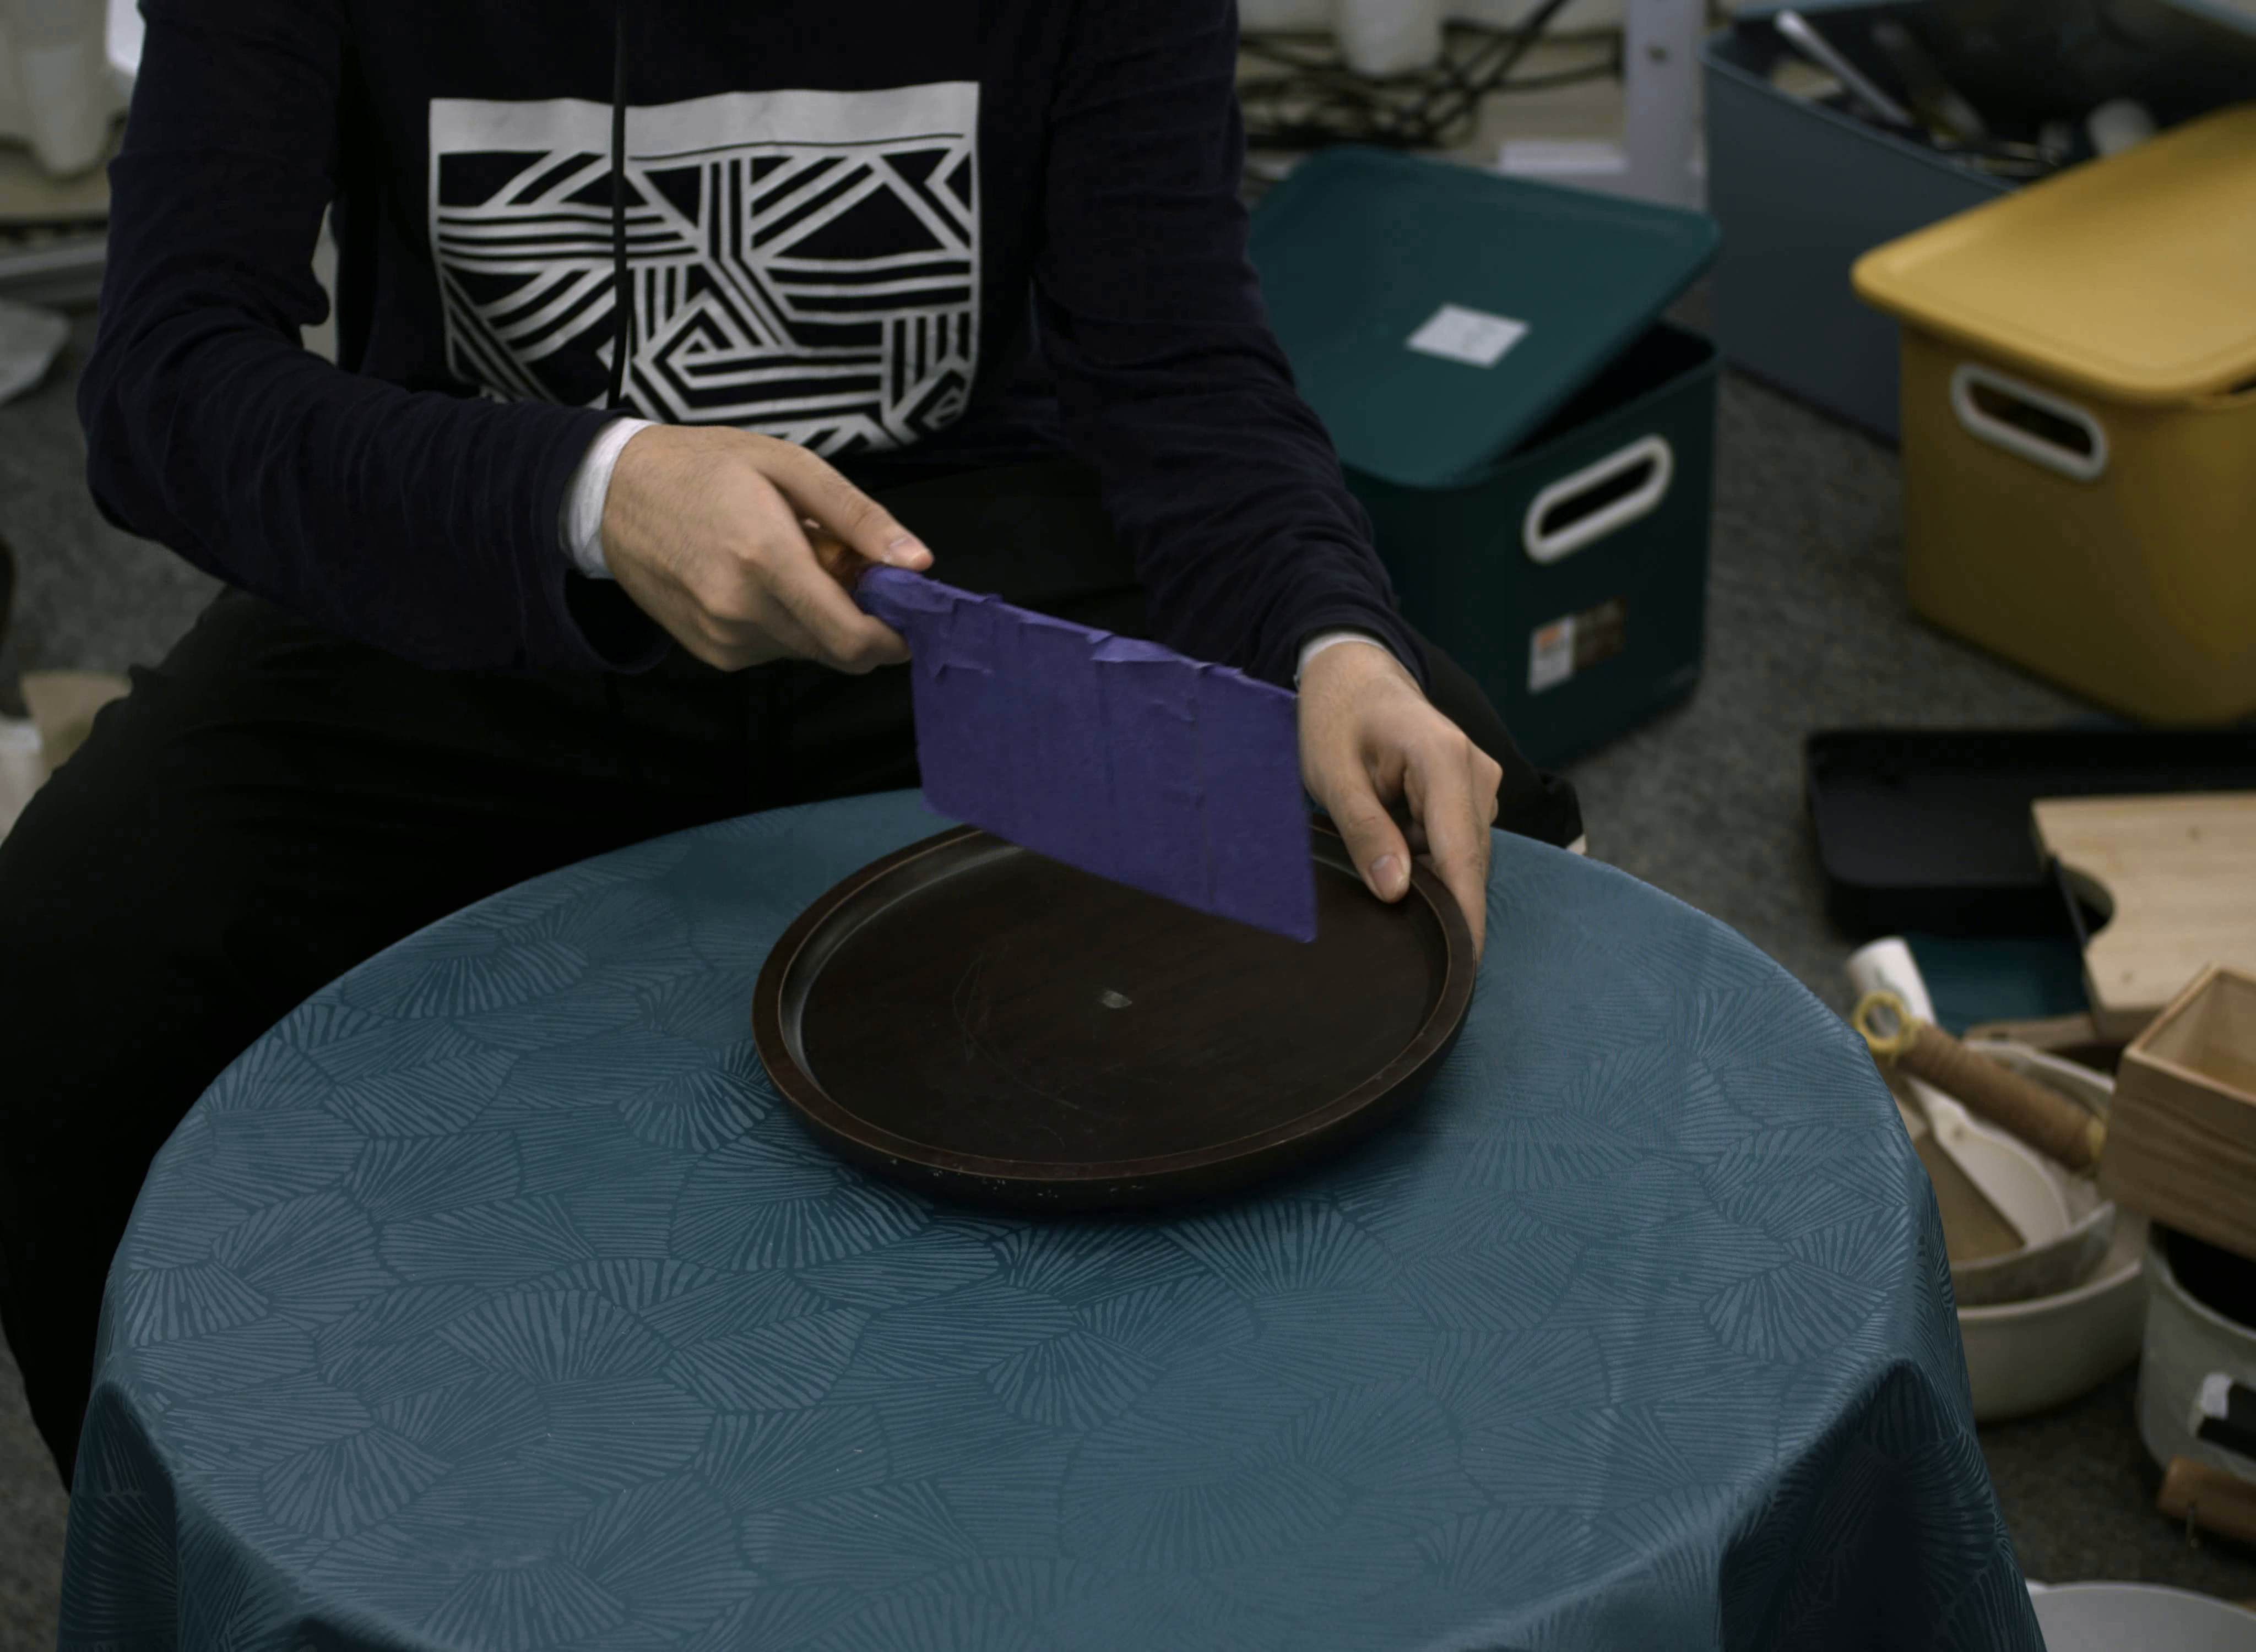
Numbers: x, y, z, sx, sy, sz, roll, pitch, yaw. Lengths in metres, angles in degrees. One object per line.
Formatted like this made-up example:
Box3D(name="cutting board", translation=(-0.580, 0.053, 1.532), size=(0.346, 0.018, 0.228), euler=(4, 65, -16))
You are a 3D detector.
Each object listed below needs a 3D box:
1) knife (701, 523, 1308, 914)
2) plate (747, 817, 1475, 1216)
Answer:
Box3D(name="knife", translation=(-0.047, -0.036, 1.937), size=(0.032, 0.103, 0.314), euler=(-16, 22, -35))
Box3D(name="plate", translation=(-0.006, 0.061, 1.942), size=(0.253, 0.029, 0.259), euler=(-4, 30, 3))
